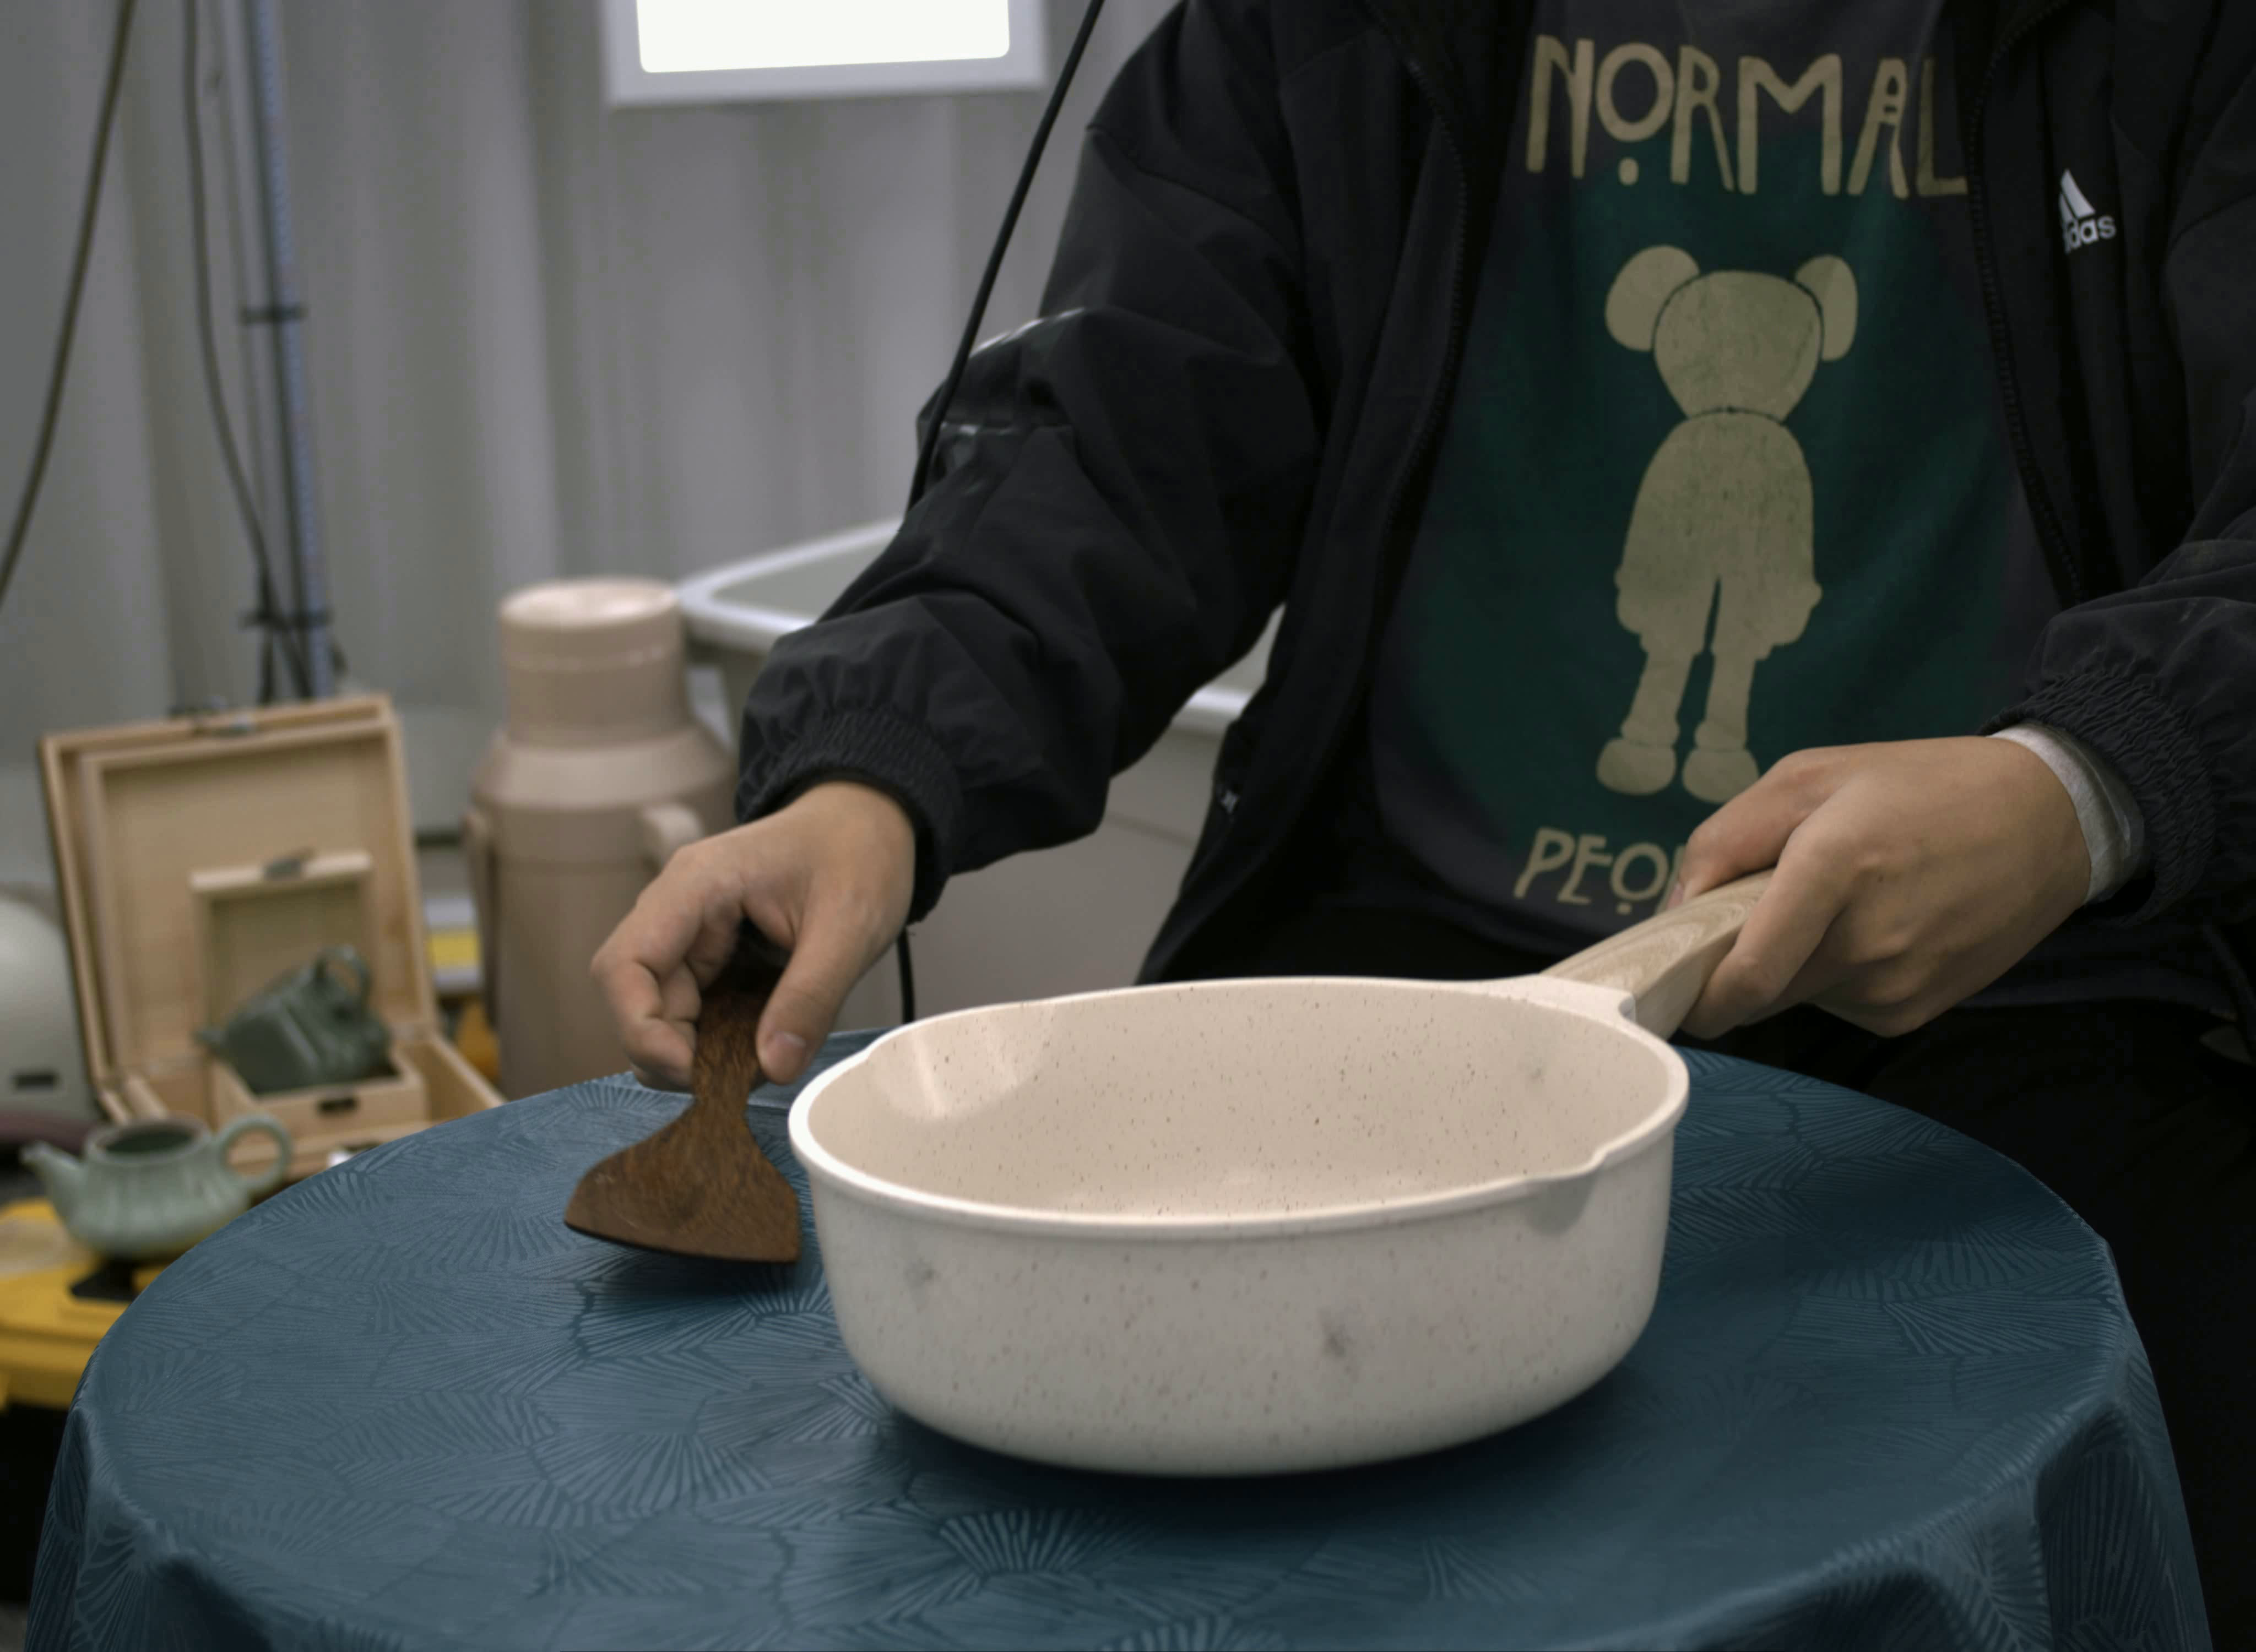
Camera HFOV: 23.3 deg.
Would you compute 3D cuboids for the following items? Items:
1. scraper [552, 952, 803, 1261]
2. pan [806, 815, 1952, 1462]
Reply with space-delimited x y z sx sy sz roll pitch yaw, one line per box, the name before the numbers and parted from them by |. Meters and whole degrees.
scraper | -0.132 0.087 1.731 0.075 0.011 0.213 10 23 -1
pan | 0.103 0.086 1.584 0.433 0.102 0.264 -14 15 -42
